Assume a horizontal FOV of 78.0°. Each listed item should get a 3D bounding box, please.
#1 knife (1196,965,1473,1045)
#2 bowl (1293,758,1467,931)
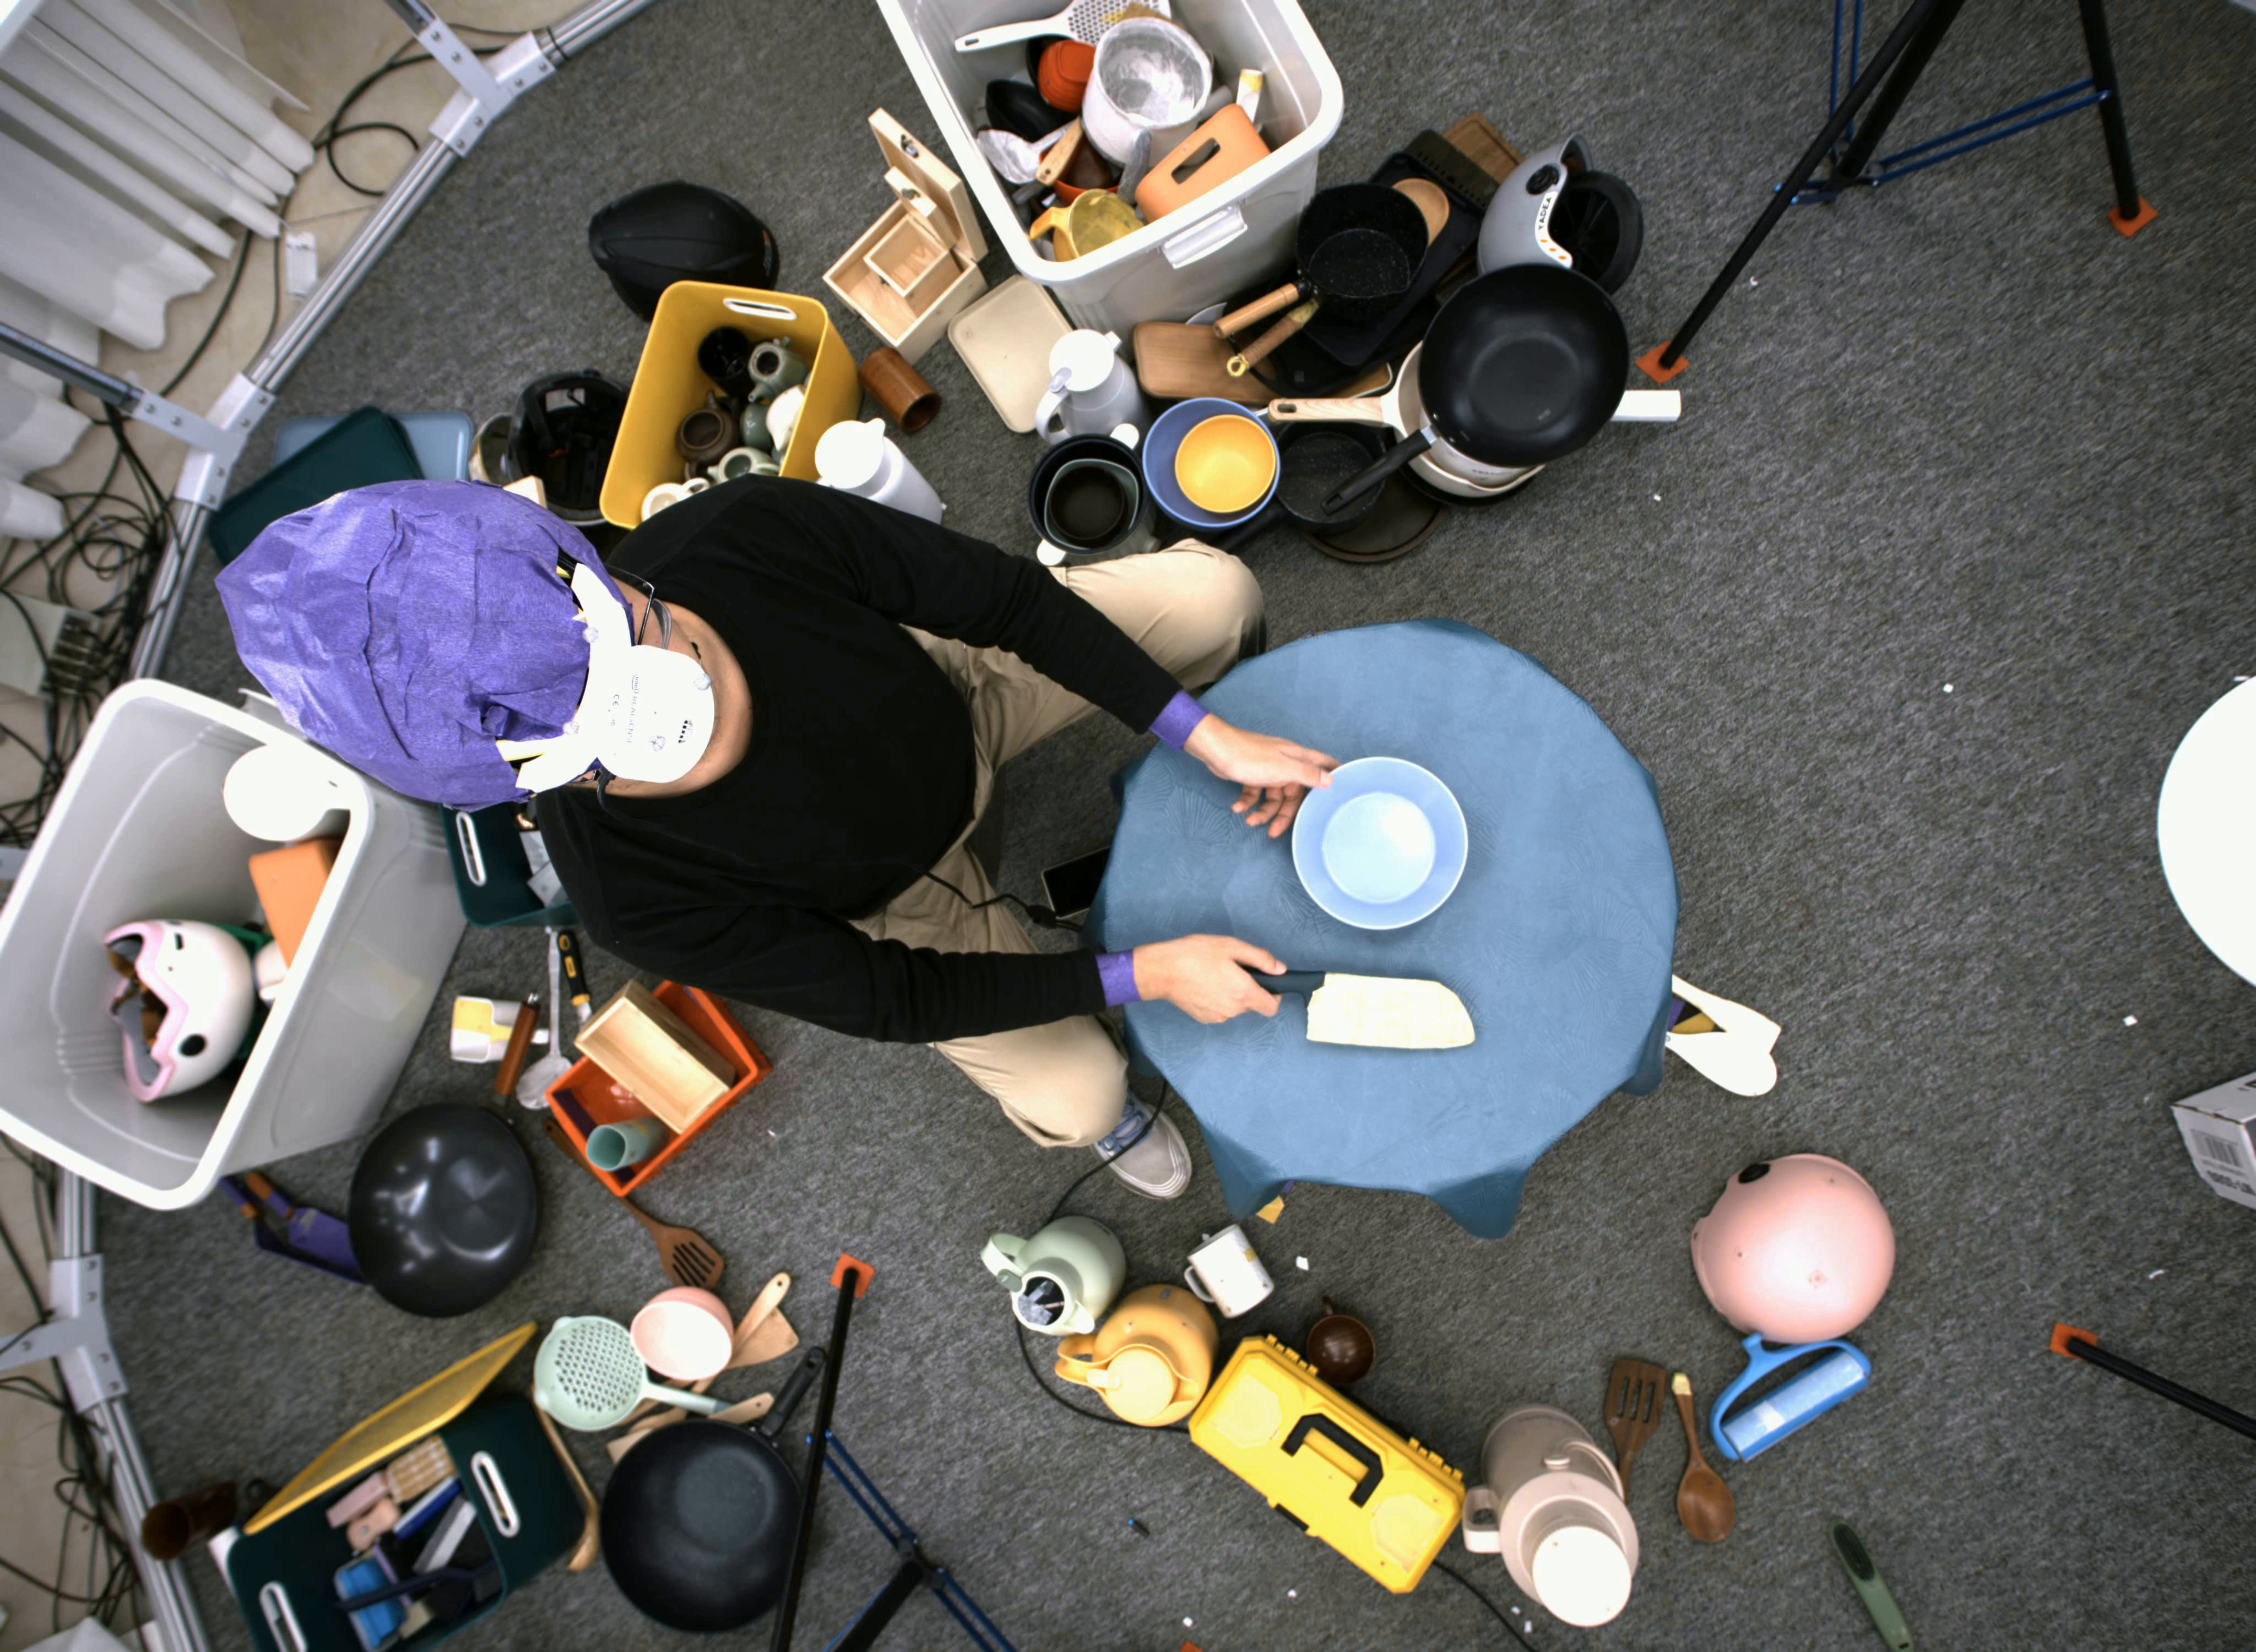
[{"bbox_3d":[0.213,0.184,1.433,0.290,0.027,0.081,7,99,8],"label":"knife"},{"bbox_3d":[0.260,0.020,1.431,0.177,0.070,0.175,-1,87,11],"label":"bowl"}]
